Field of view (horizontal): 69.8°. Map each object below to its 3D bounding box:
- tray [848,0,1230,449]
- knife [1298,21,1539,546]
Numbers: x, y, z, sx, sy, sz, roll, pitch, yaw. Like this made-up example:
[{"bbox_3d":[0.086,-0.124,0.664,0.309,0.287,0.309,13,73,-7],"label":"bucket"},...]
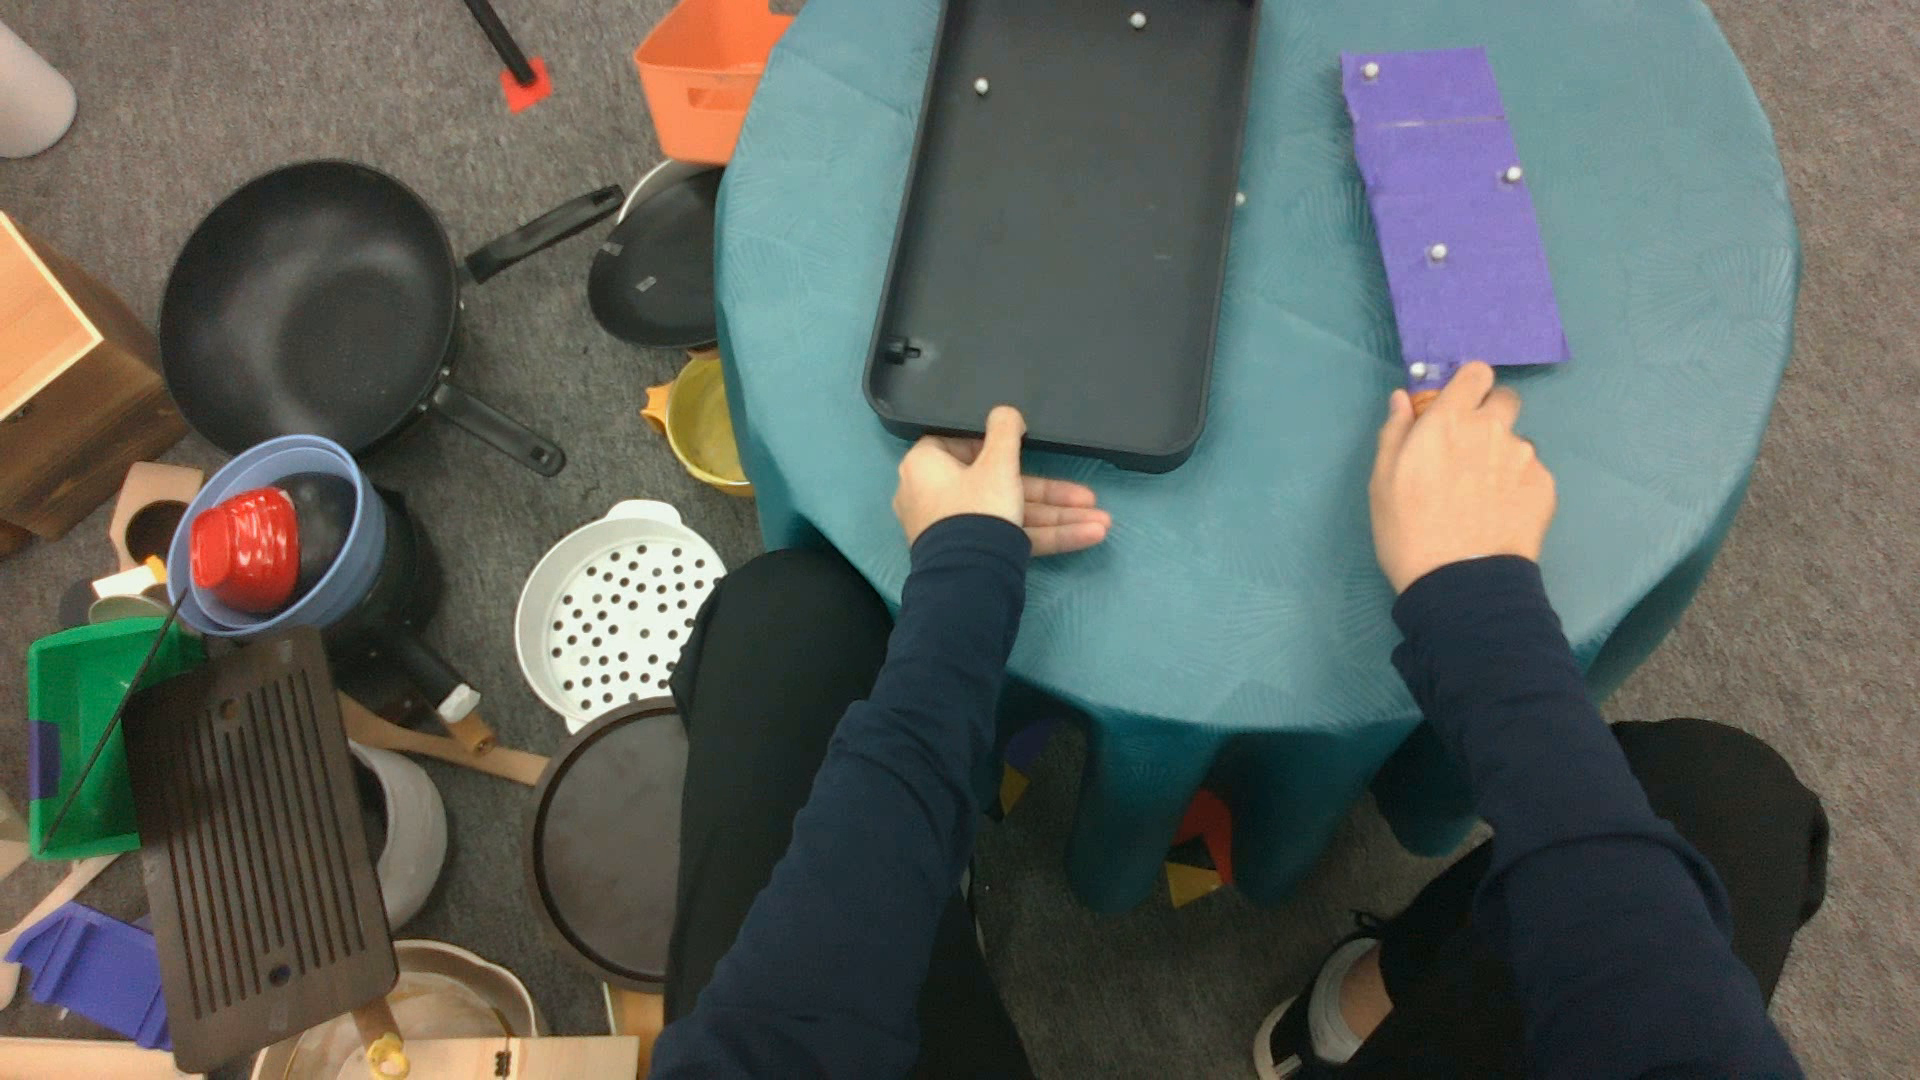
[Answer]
[{"bbox_3d":[0.050,-0.210,0.779,0.184,0.037,0.319,6,74,6],"label":"tray"},{"bbox_3d":[0.260,-0.151,0.741,0.104,0.032,0.316,-3,72,-9],"label":"knife"}]
